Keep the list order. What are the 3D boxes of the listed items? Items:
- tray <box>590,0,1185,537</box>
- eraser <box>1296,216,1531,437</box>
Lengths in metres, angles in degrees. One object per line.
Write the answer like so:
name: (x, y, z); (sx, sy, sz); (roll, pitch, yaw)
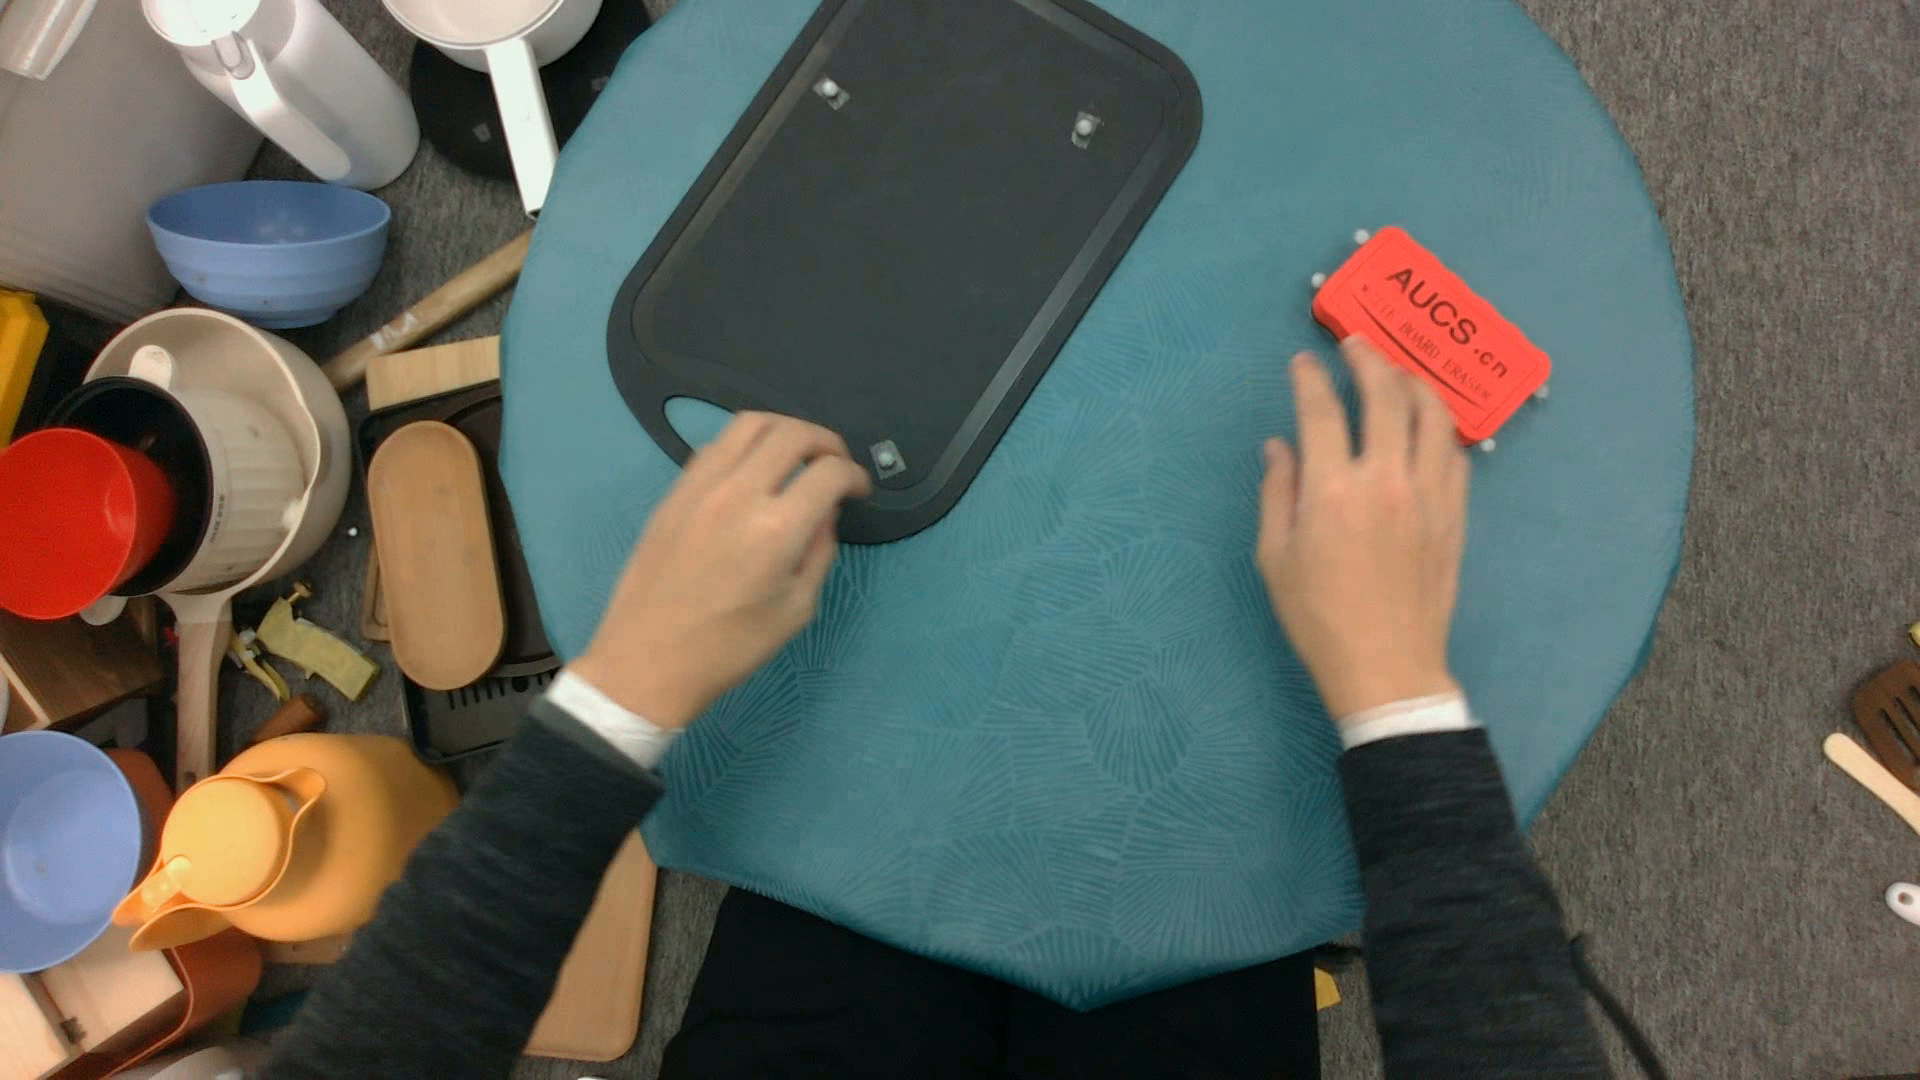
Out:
tray: (-0.041, -0.161, 0.709); (0.211, 0.010, 0.326); (33, 83, 7)
eraser: (0.223, -0.106, 0.680); (0.108, 0.023, 0.059); (44, 86, 6)
